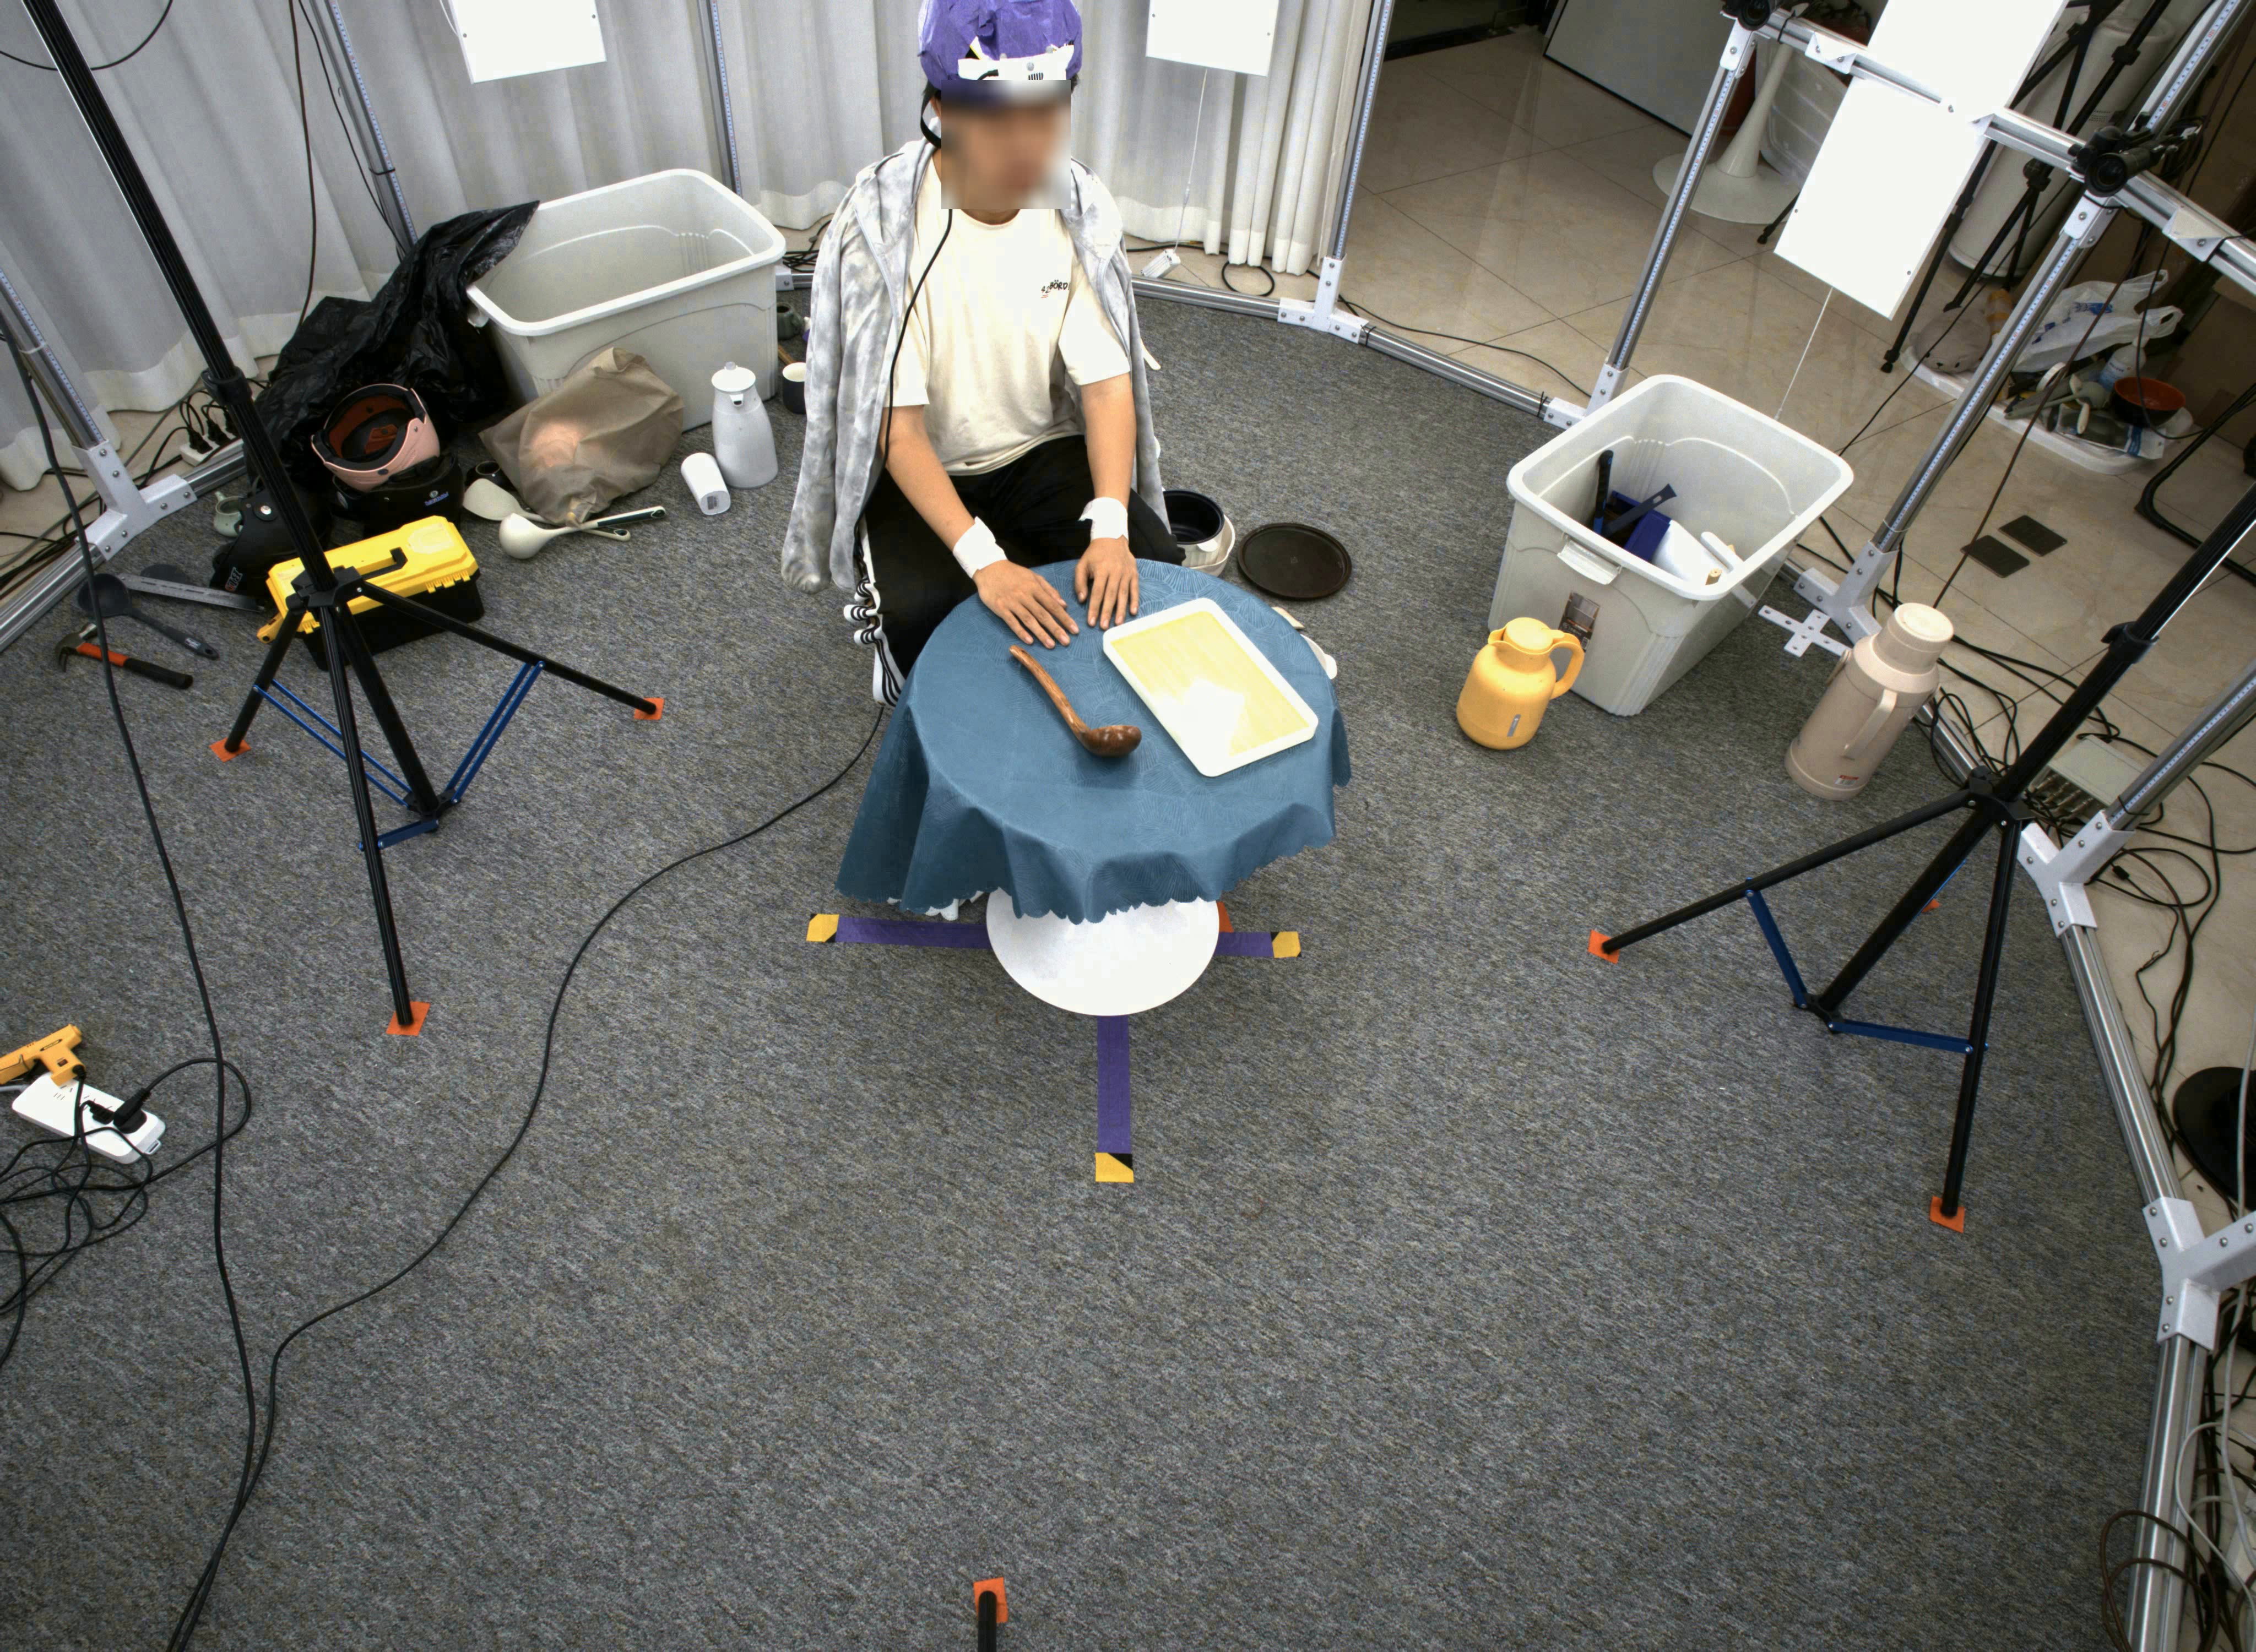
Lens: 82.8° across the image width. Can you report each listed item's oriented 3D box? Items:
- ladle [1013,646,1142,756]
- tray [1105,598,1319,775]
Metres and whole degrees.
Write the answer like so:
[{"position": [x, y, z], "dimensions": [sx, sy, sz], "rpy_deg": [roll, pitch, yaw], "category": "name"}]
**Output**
[{"position": [-0.075, -0.189, 1.774], "dimensions": [0.081, 0.076, 0.280], "rpy_deg": [14, 32, -48], "category": "ladle"}, {"position": [0.115, -0.205, 1.828], "dimensions": [0.192, 0.027, 0.307], "rpy_deg": [-21, 53, -21], "category": "tray"}]
